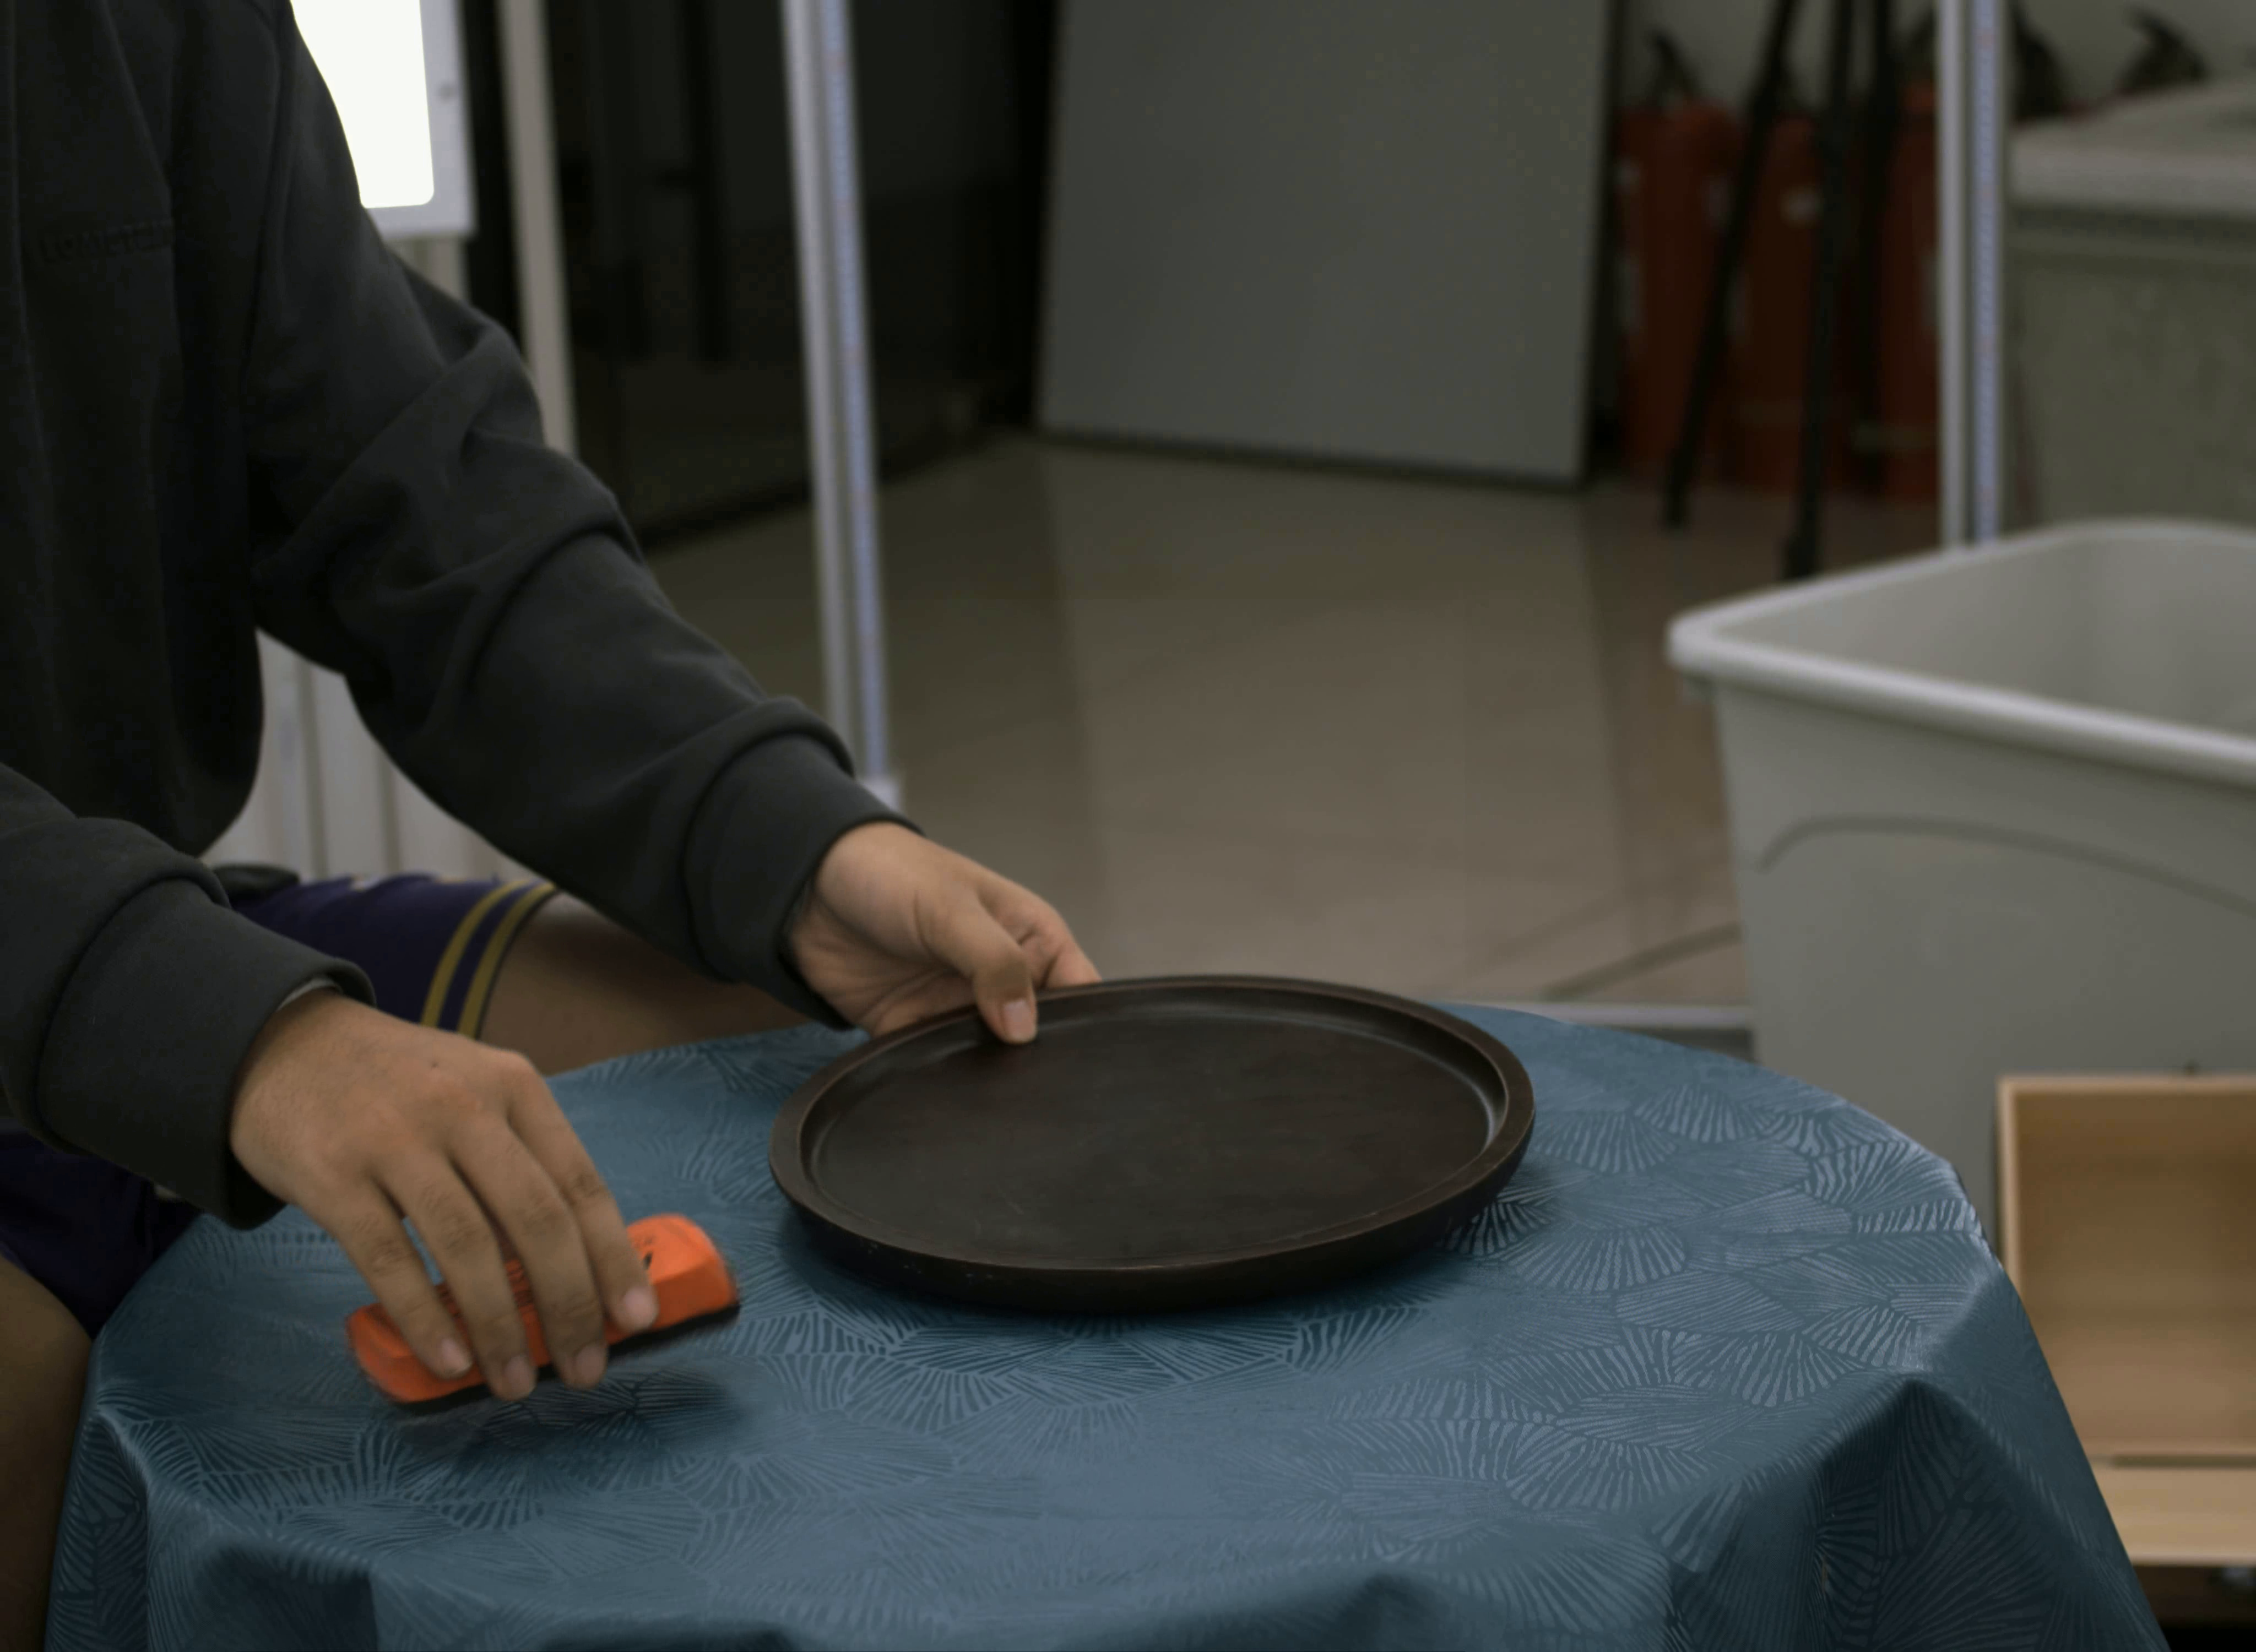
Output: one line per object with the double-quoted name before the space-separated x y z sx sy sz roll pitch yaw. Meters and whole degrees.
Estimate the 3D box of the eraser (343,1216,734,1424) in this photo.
"eraser" -0.173 0.145 1.595 0.106 0.023 0.059 -17 14 -21

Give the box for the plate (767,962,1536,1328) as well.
"plate" 0.008 0.104 1.753 0.251 0.029 0.255 -5 20 1
